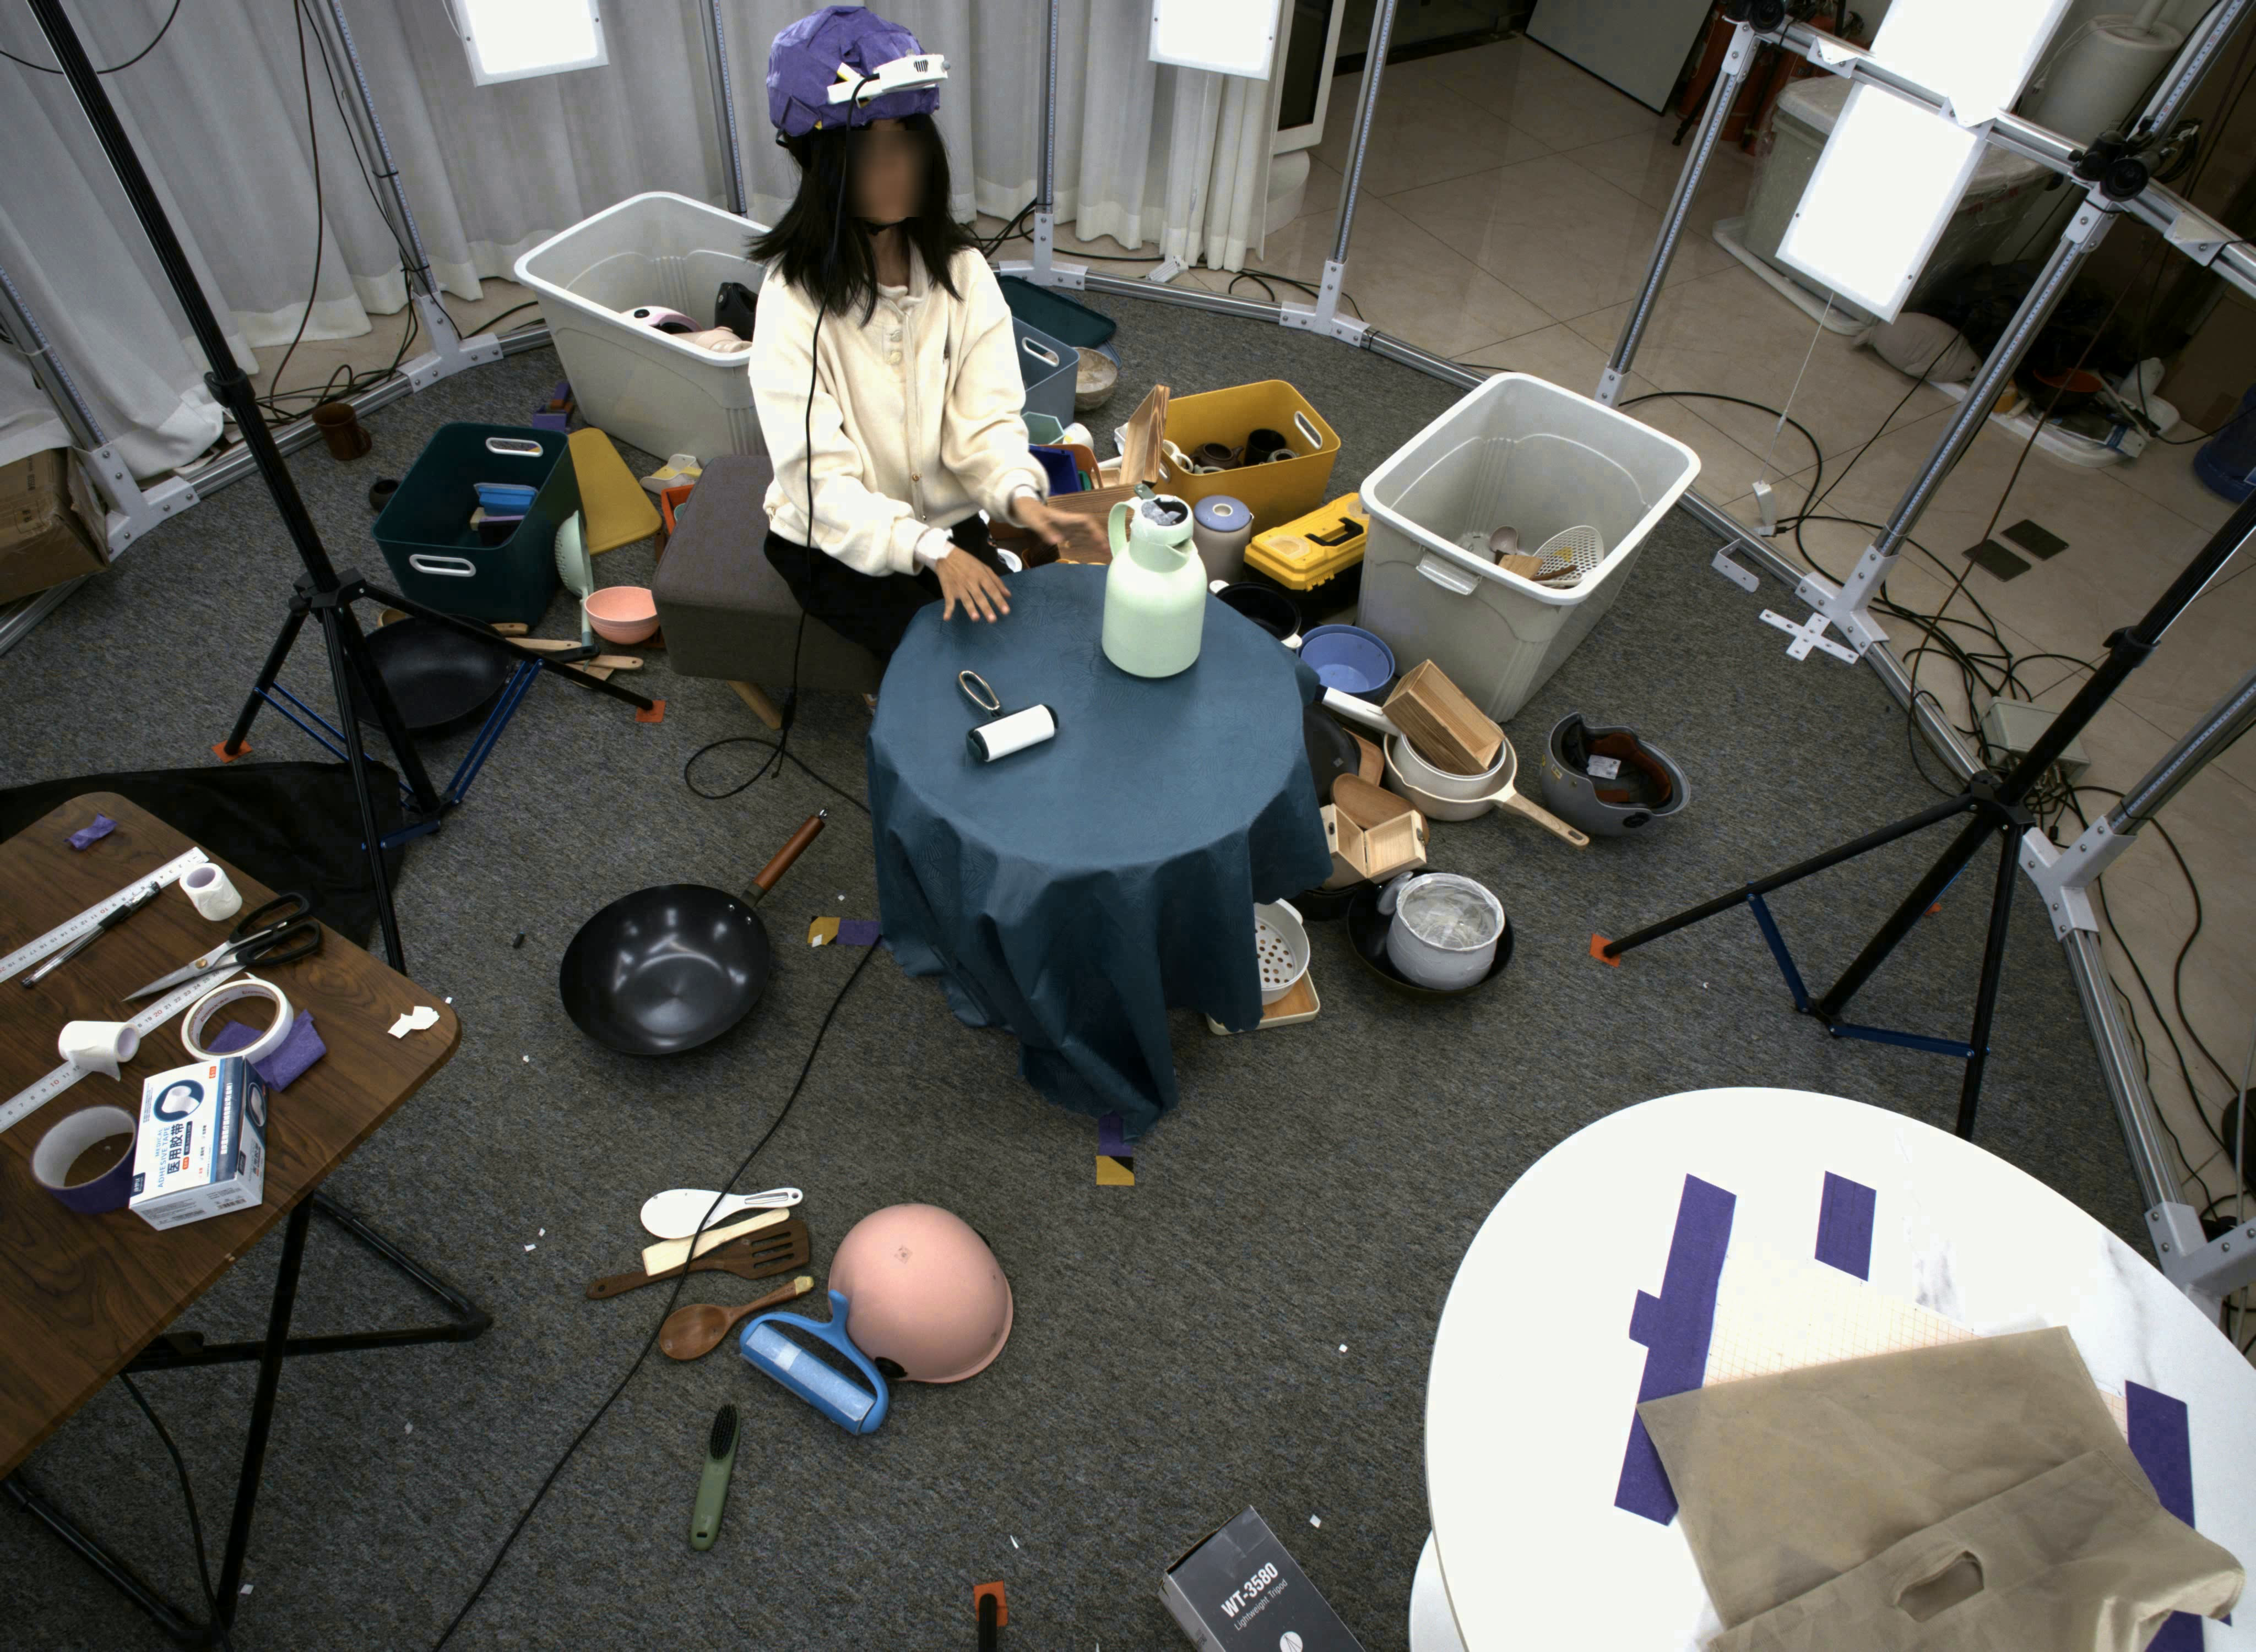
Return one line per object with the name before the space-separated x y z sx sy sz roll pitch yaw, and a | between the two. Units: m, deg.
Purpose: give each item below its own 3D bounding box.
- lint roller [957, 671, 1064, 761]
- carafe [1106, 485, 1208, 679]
lint roller | -0.188 -0.172 1.776 0.135 0.047 0.184 -22 54 -22
carafe | 0.035 -0.349 1.815 0.145 0.250 0.191 -24 52 -21
